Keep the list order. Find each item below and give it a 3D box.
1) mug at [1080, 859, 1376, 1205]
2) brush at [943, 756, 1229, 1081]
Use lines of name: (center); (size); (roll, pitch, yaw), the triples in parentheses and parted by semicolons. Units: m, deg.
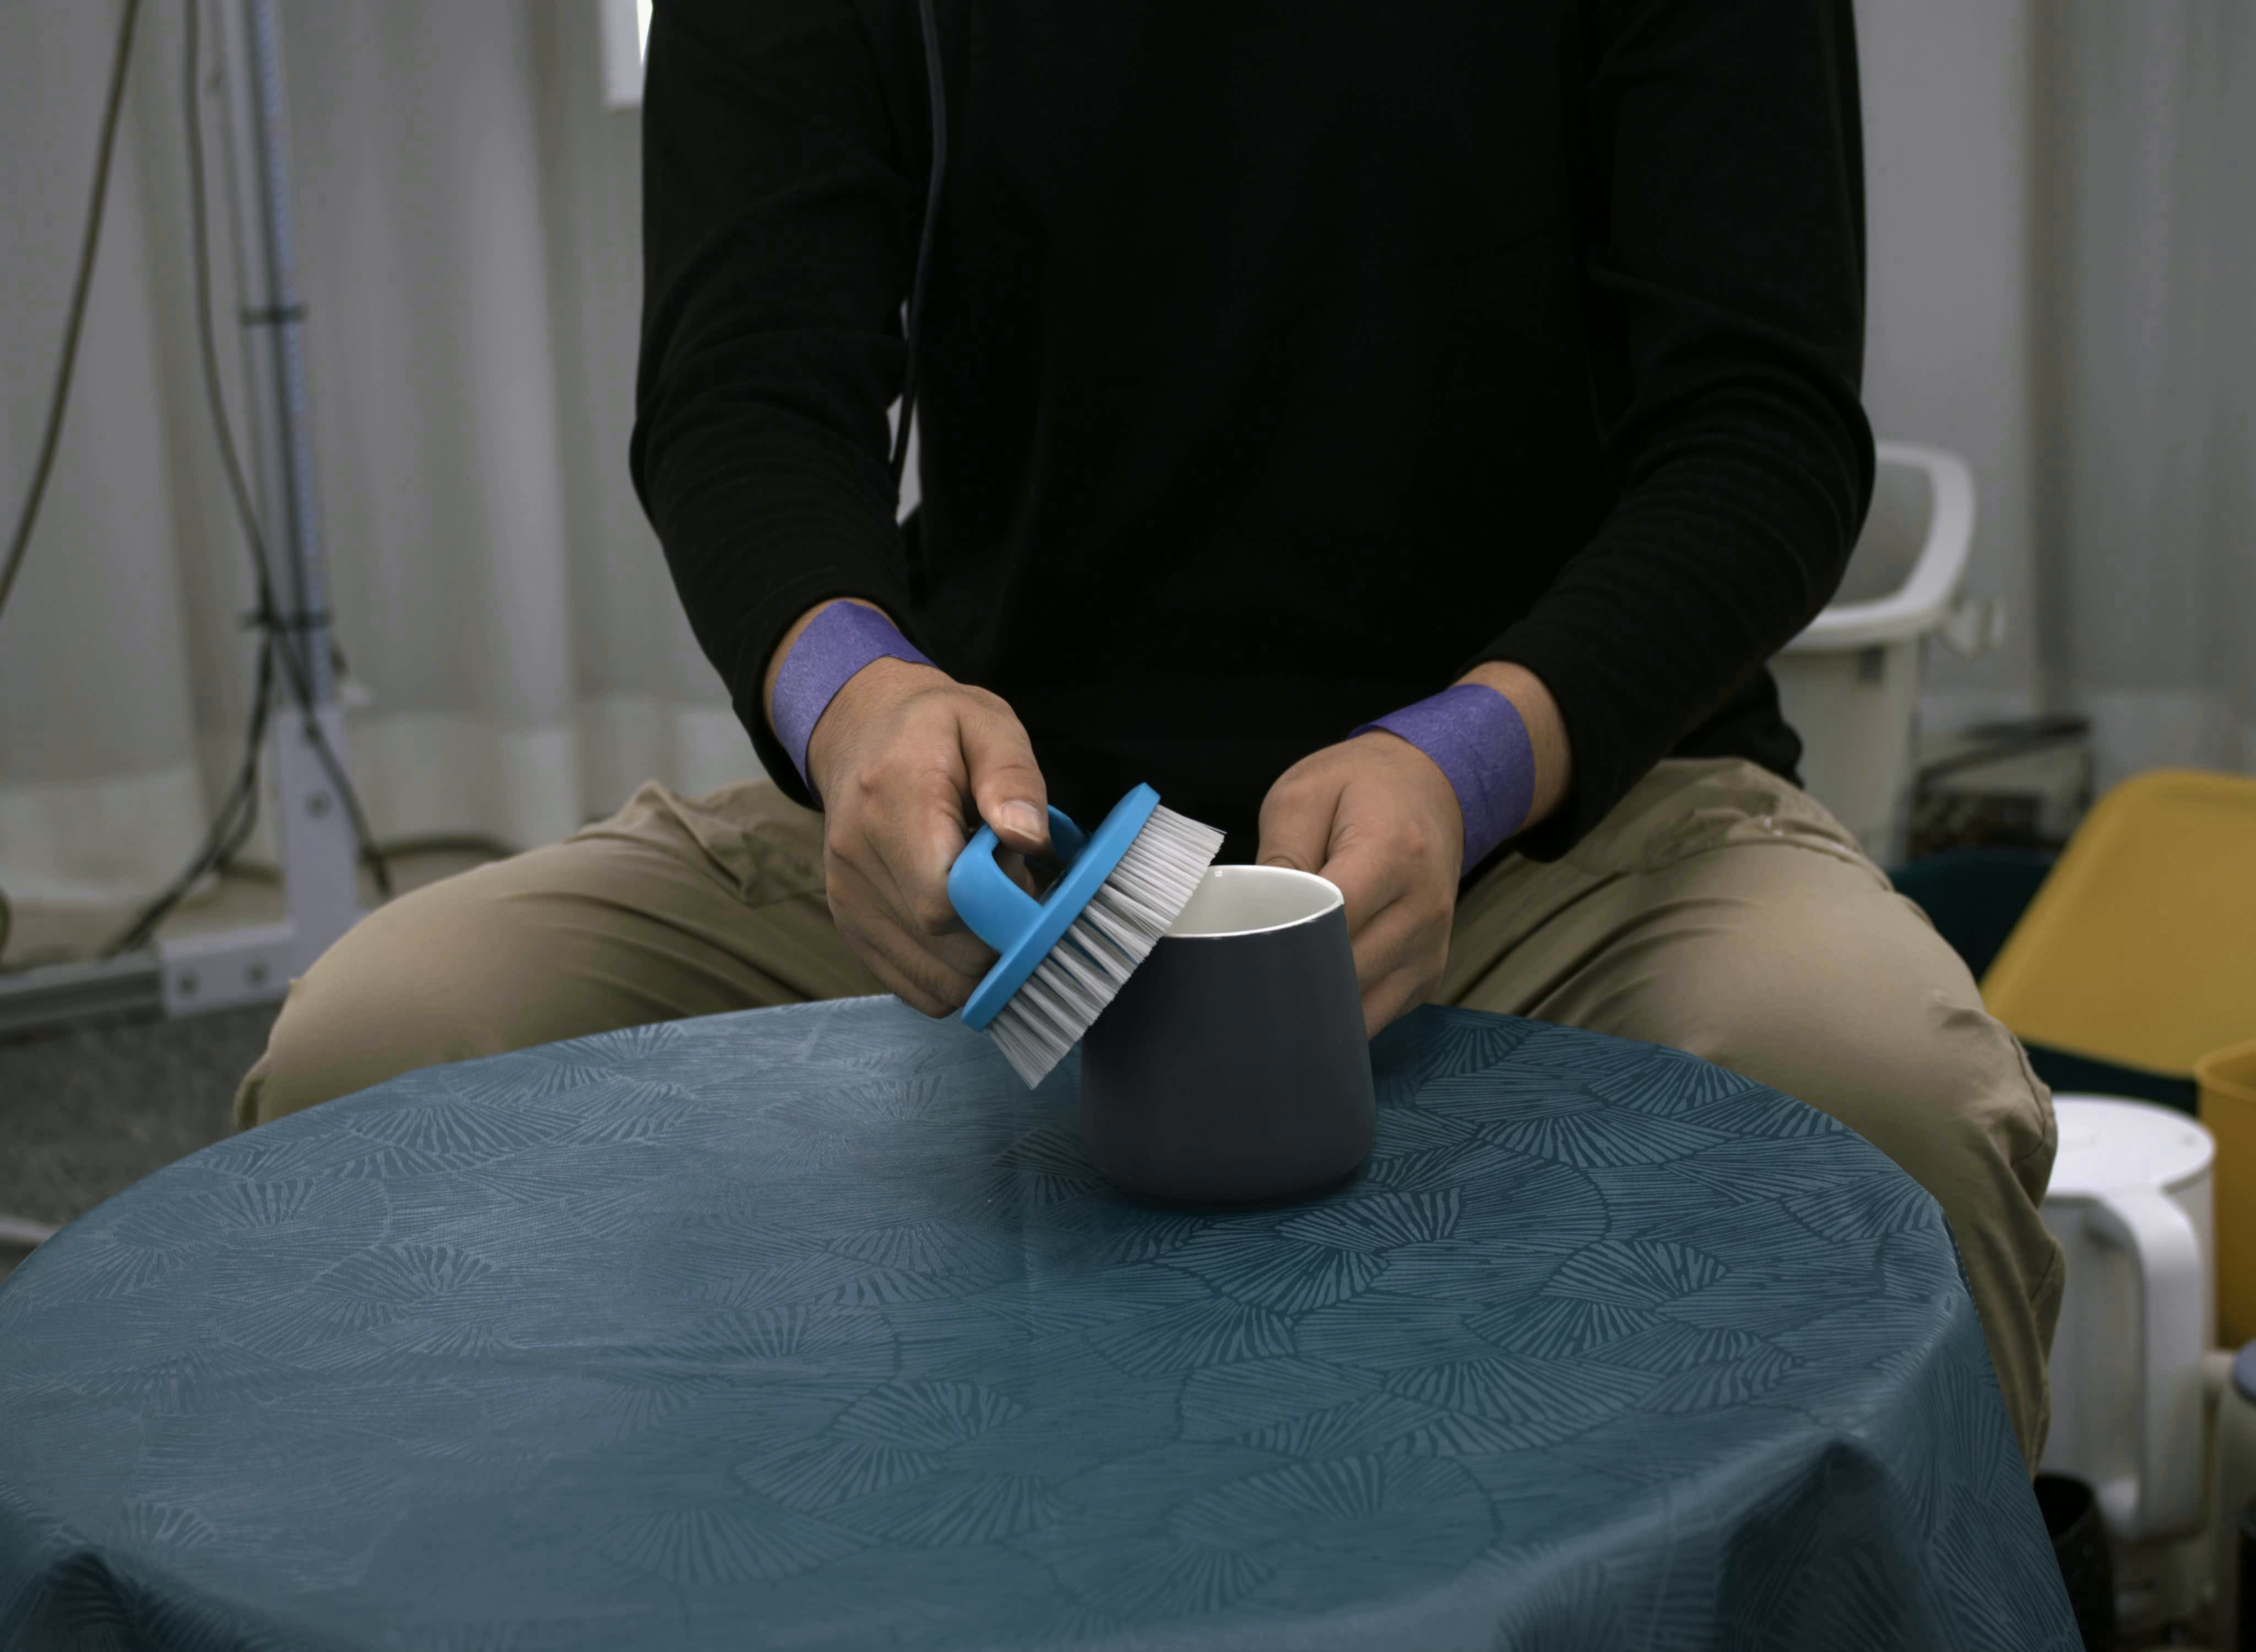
mug: (0.034, 0.060, 1.731); (0.093, 0.089, 0.124); (2, 17, 15)
brush: (-0.022, 0.019, 1.711); (0.064, 0.084, 0.142); (35, 20, 1)
